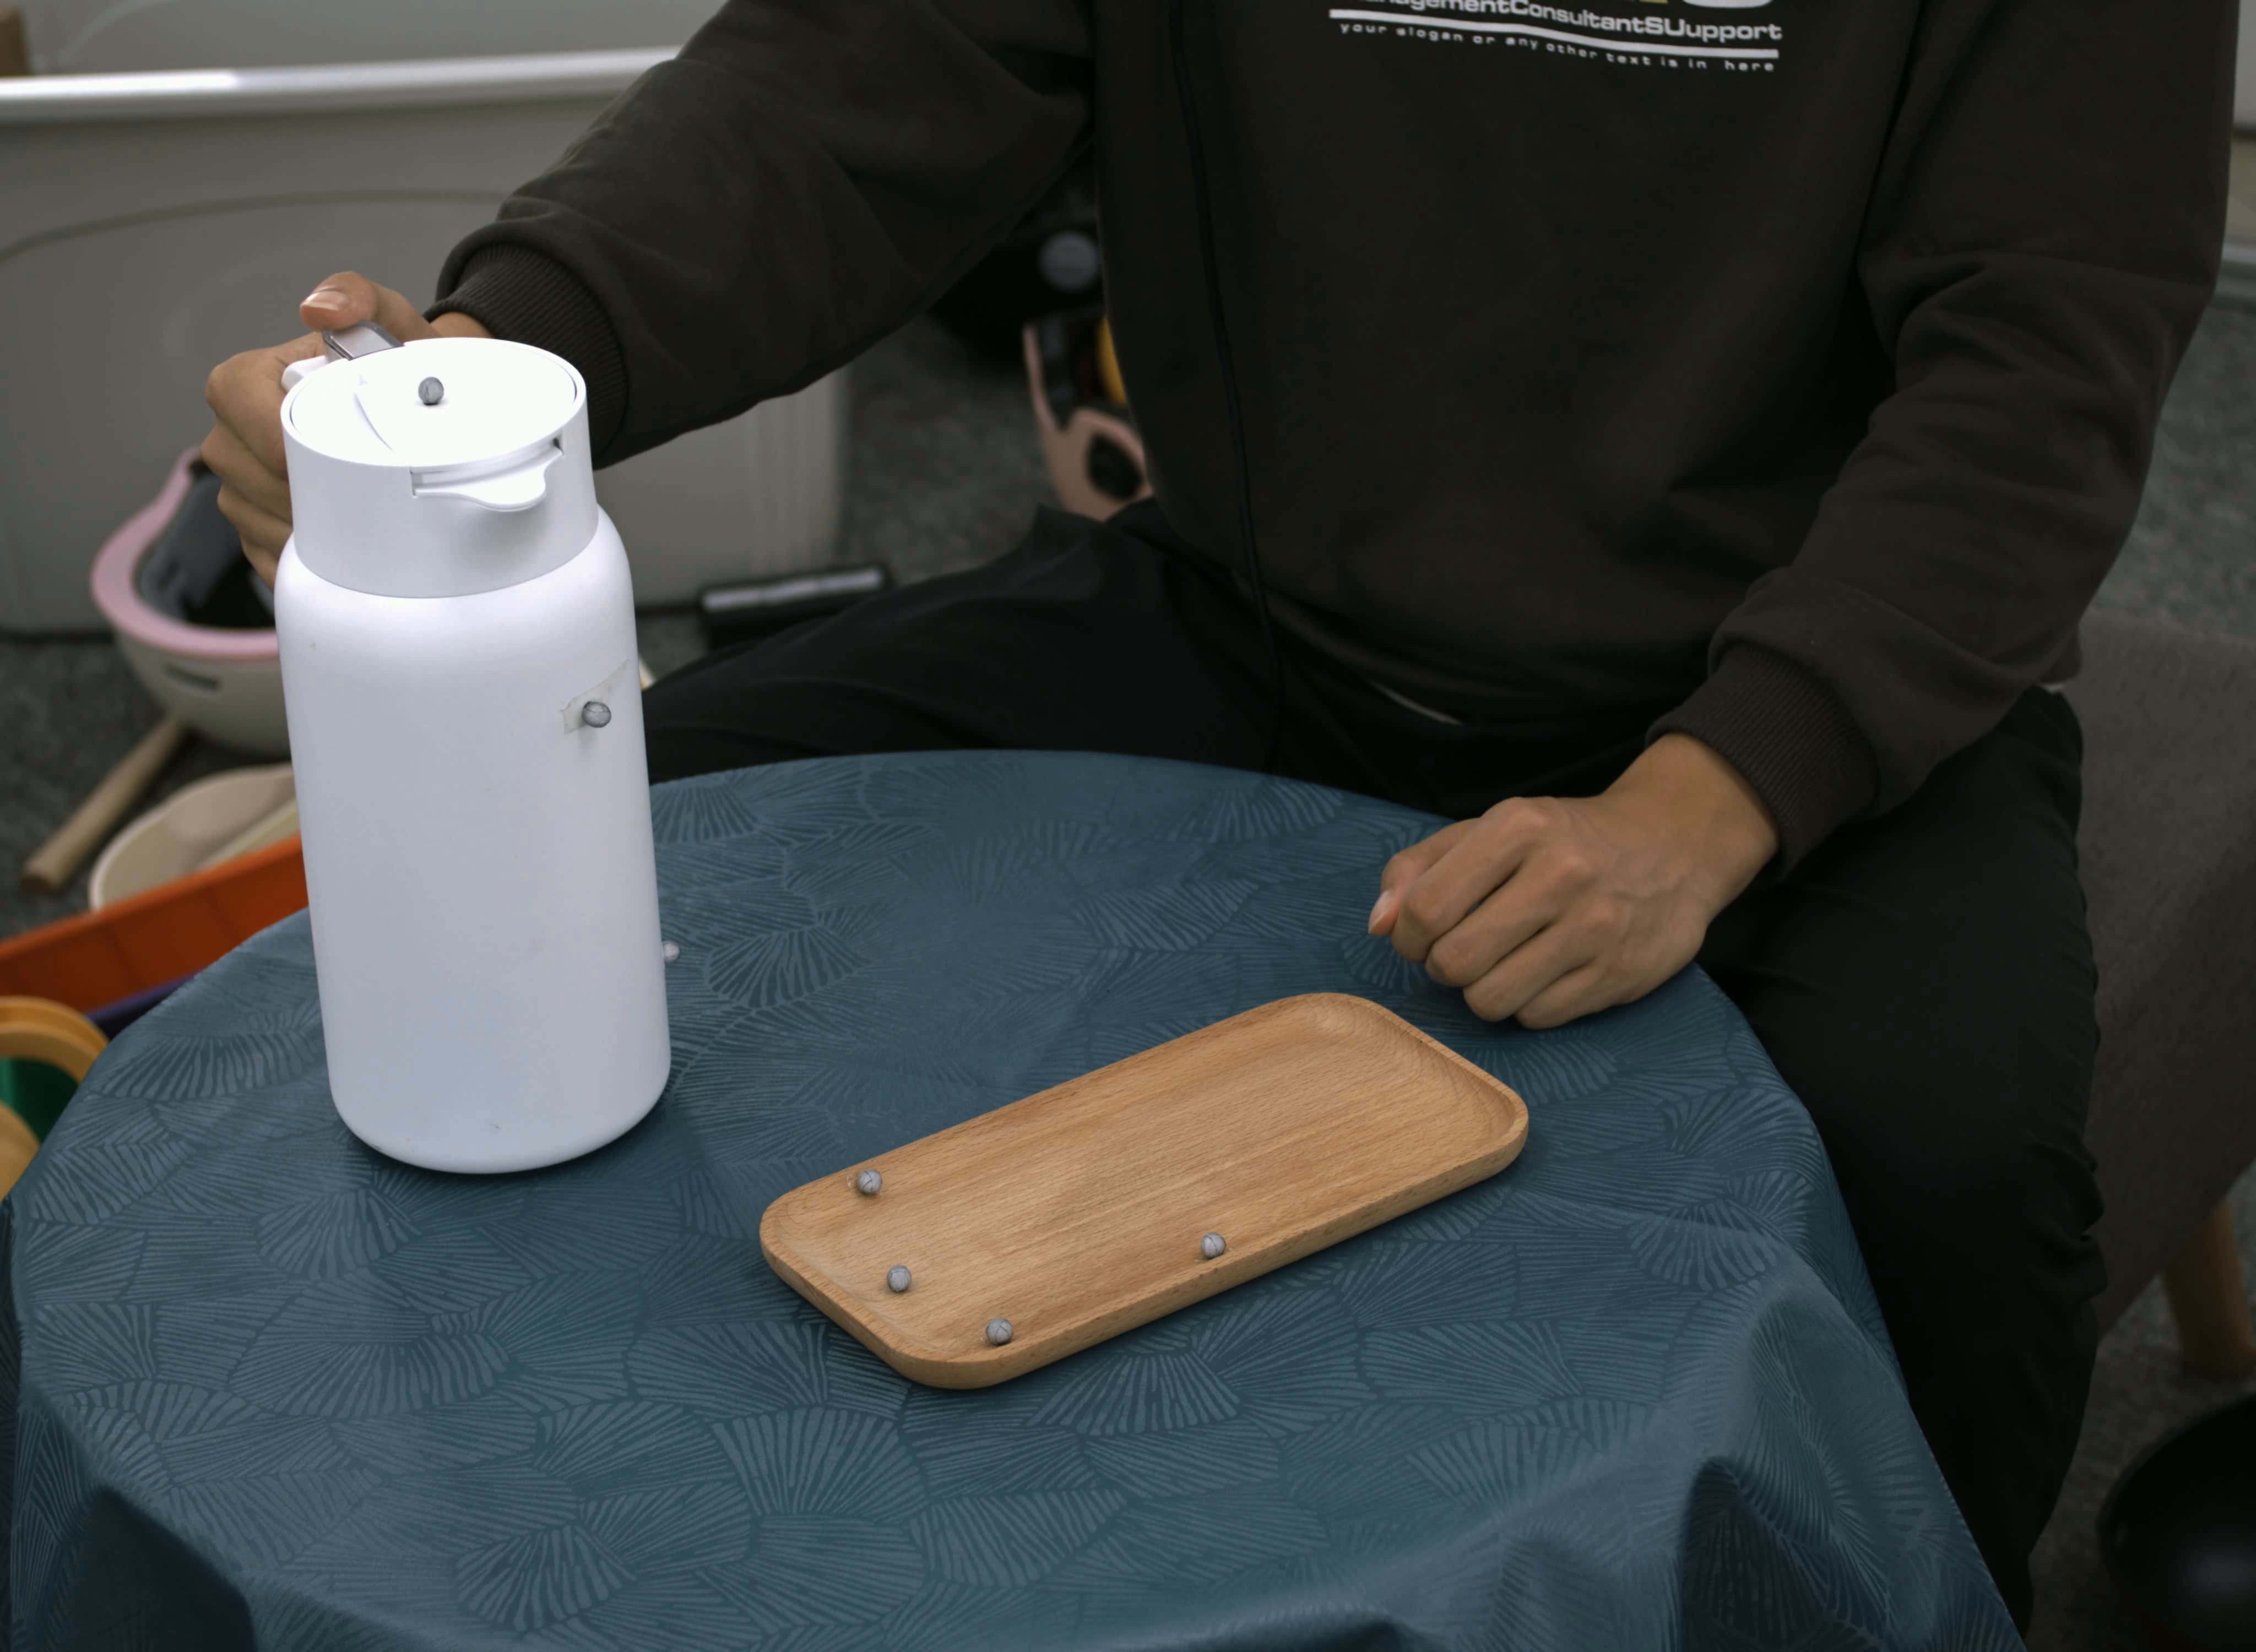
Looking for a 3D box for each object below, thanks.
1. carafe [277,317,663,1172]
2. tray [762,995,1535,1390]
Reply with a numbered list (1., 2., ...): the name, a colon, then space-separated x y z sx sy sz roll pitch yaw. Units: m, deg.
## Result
1. carafe: -0.229 -0.030 1.885 0.124 0.266 0.173 -18 33 -25
2. tray: 0.008 0.119 1.852 0.252 0.022 0.131 -19 34 -30
